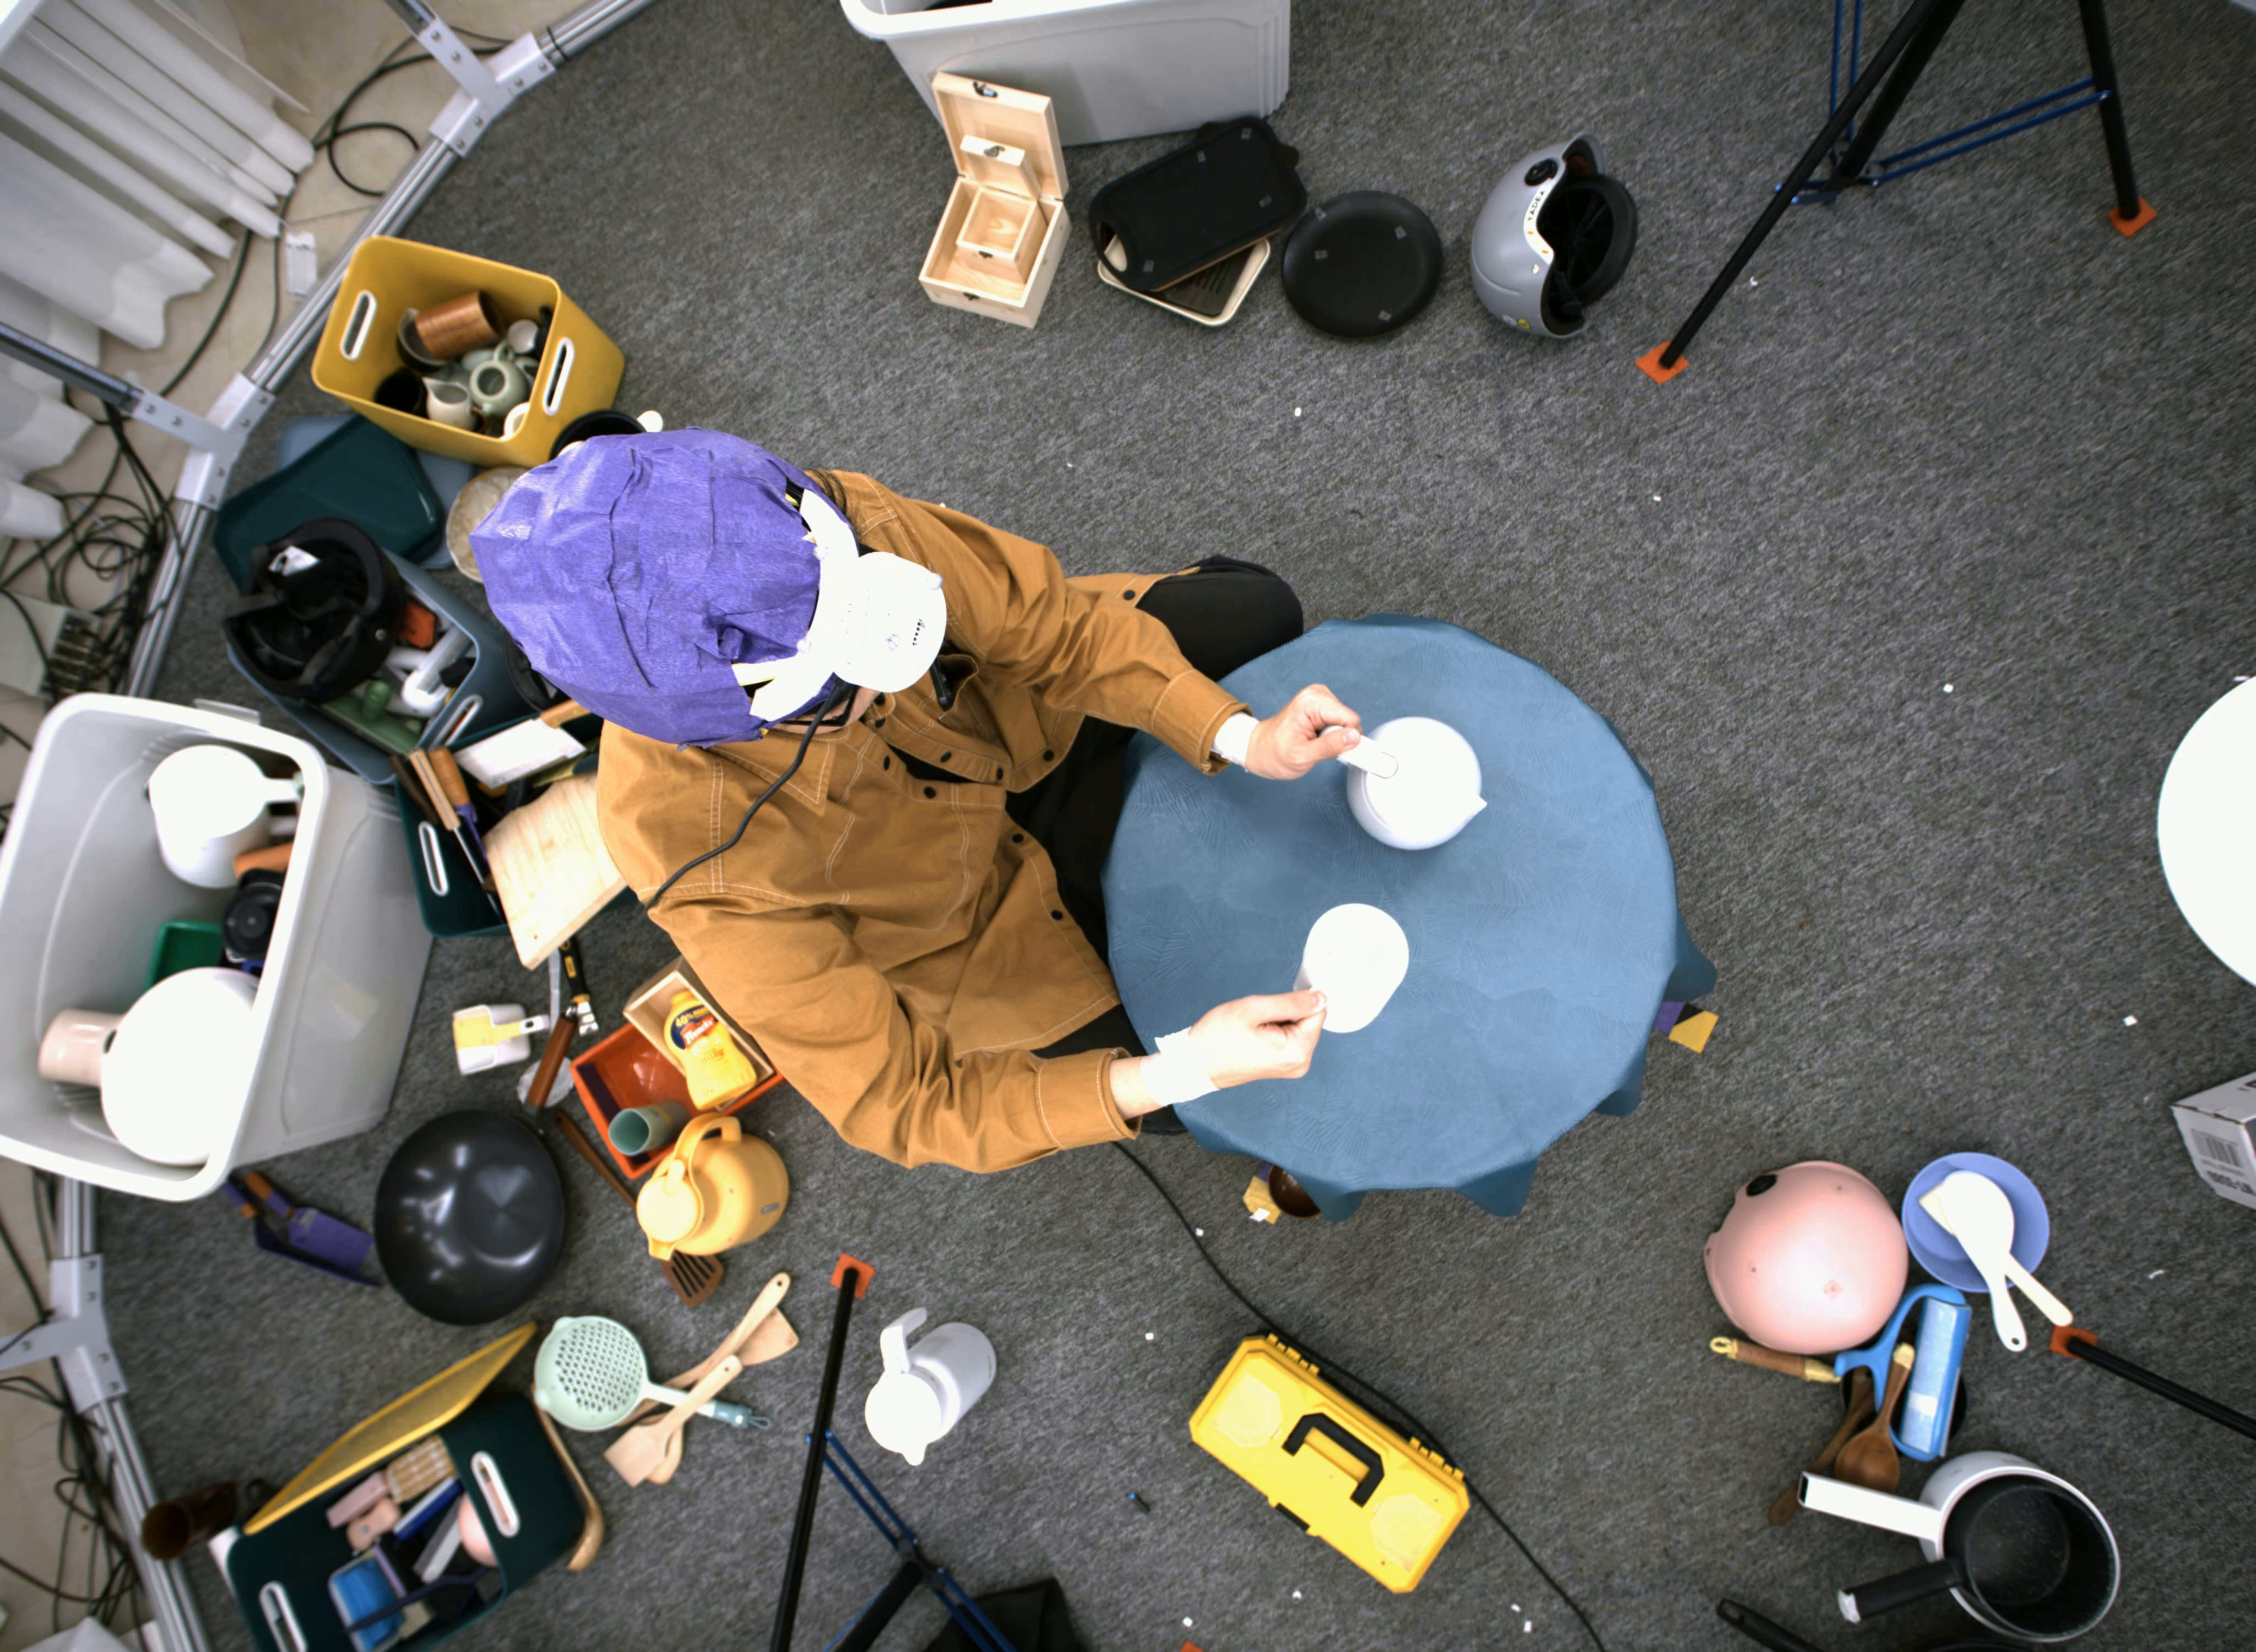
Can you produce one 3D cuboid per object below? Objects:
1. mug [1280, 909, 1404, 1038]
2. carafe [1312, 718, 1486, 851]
[{"bbox_3d":[0.177,0.138,1.198,0.117,0.104,0.084,-42,74,-15],"label":"mug"},{"bbox_3d":[0.256,-0.049,1.316,0.167,0.247,0.133,27,97,8],"label":"carafe"}]
